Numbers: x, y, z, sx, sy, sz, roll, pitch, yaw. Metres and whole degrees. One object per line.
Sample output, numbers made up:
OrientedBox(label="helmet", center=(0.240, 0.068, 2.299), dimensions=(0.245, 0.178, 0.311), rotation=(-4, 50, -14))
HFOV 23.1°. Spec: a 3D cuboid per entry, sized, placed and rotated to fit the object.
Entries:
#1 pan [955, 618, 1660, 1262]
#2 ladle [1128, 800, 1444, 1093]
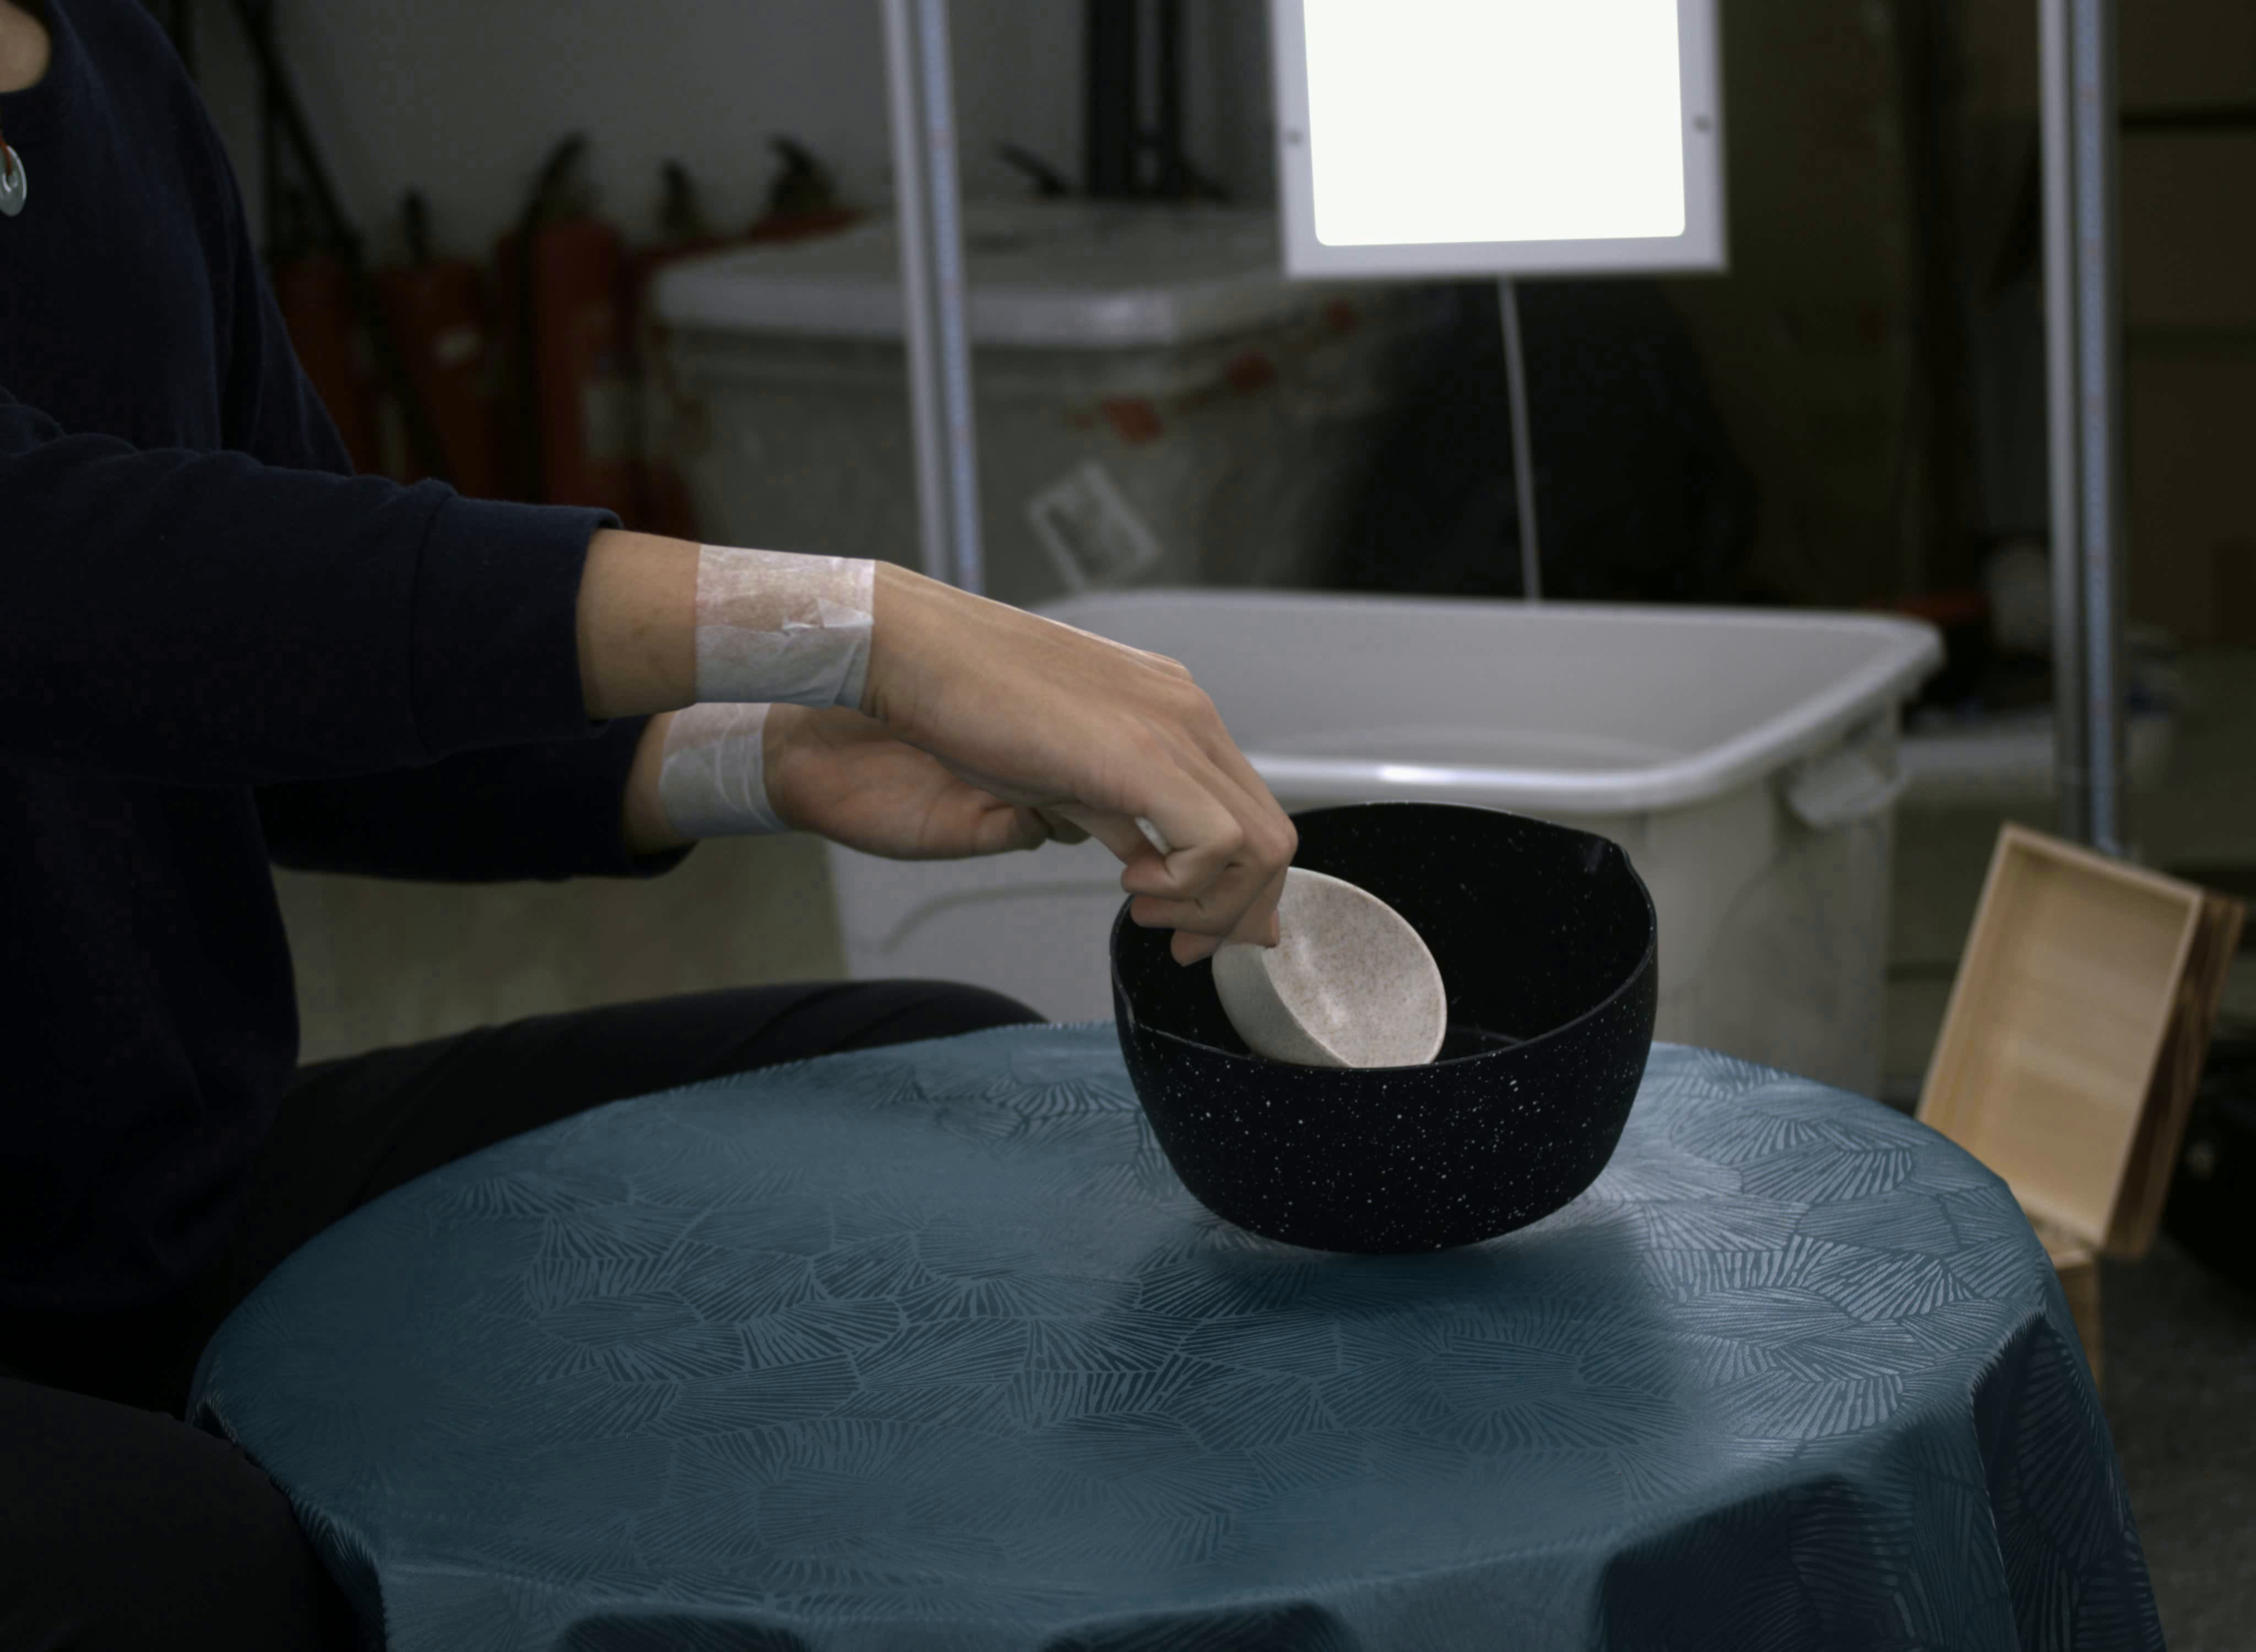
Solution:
OrientedBox(label="pan", center=(0.041, 0.033, 1.907), dimensions=(0.203, 0.108, 0.348), rotation=(-23, 33, -27))
OrientedBox(label="ladle", center=(0.049, 0.019, 1.685), dimensions=(0.069, 0.090, 0.273), rotation=(-34, -18, -2))
